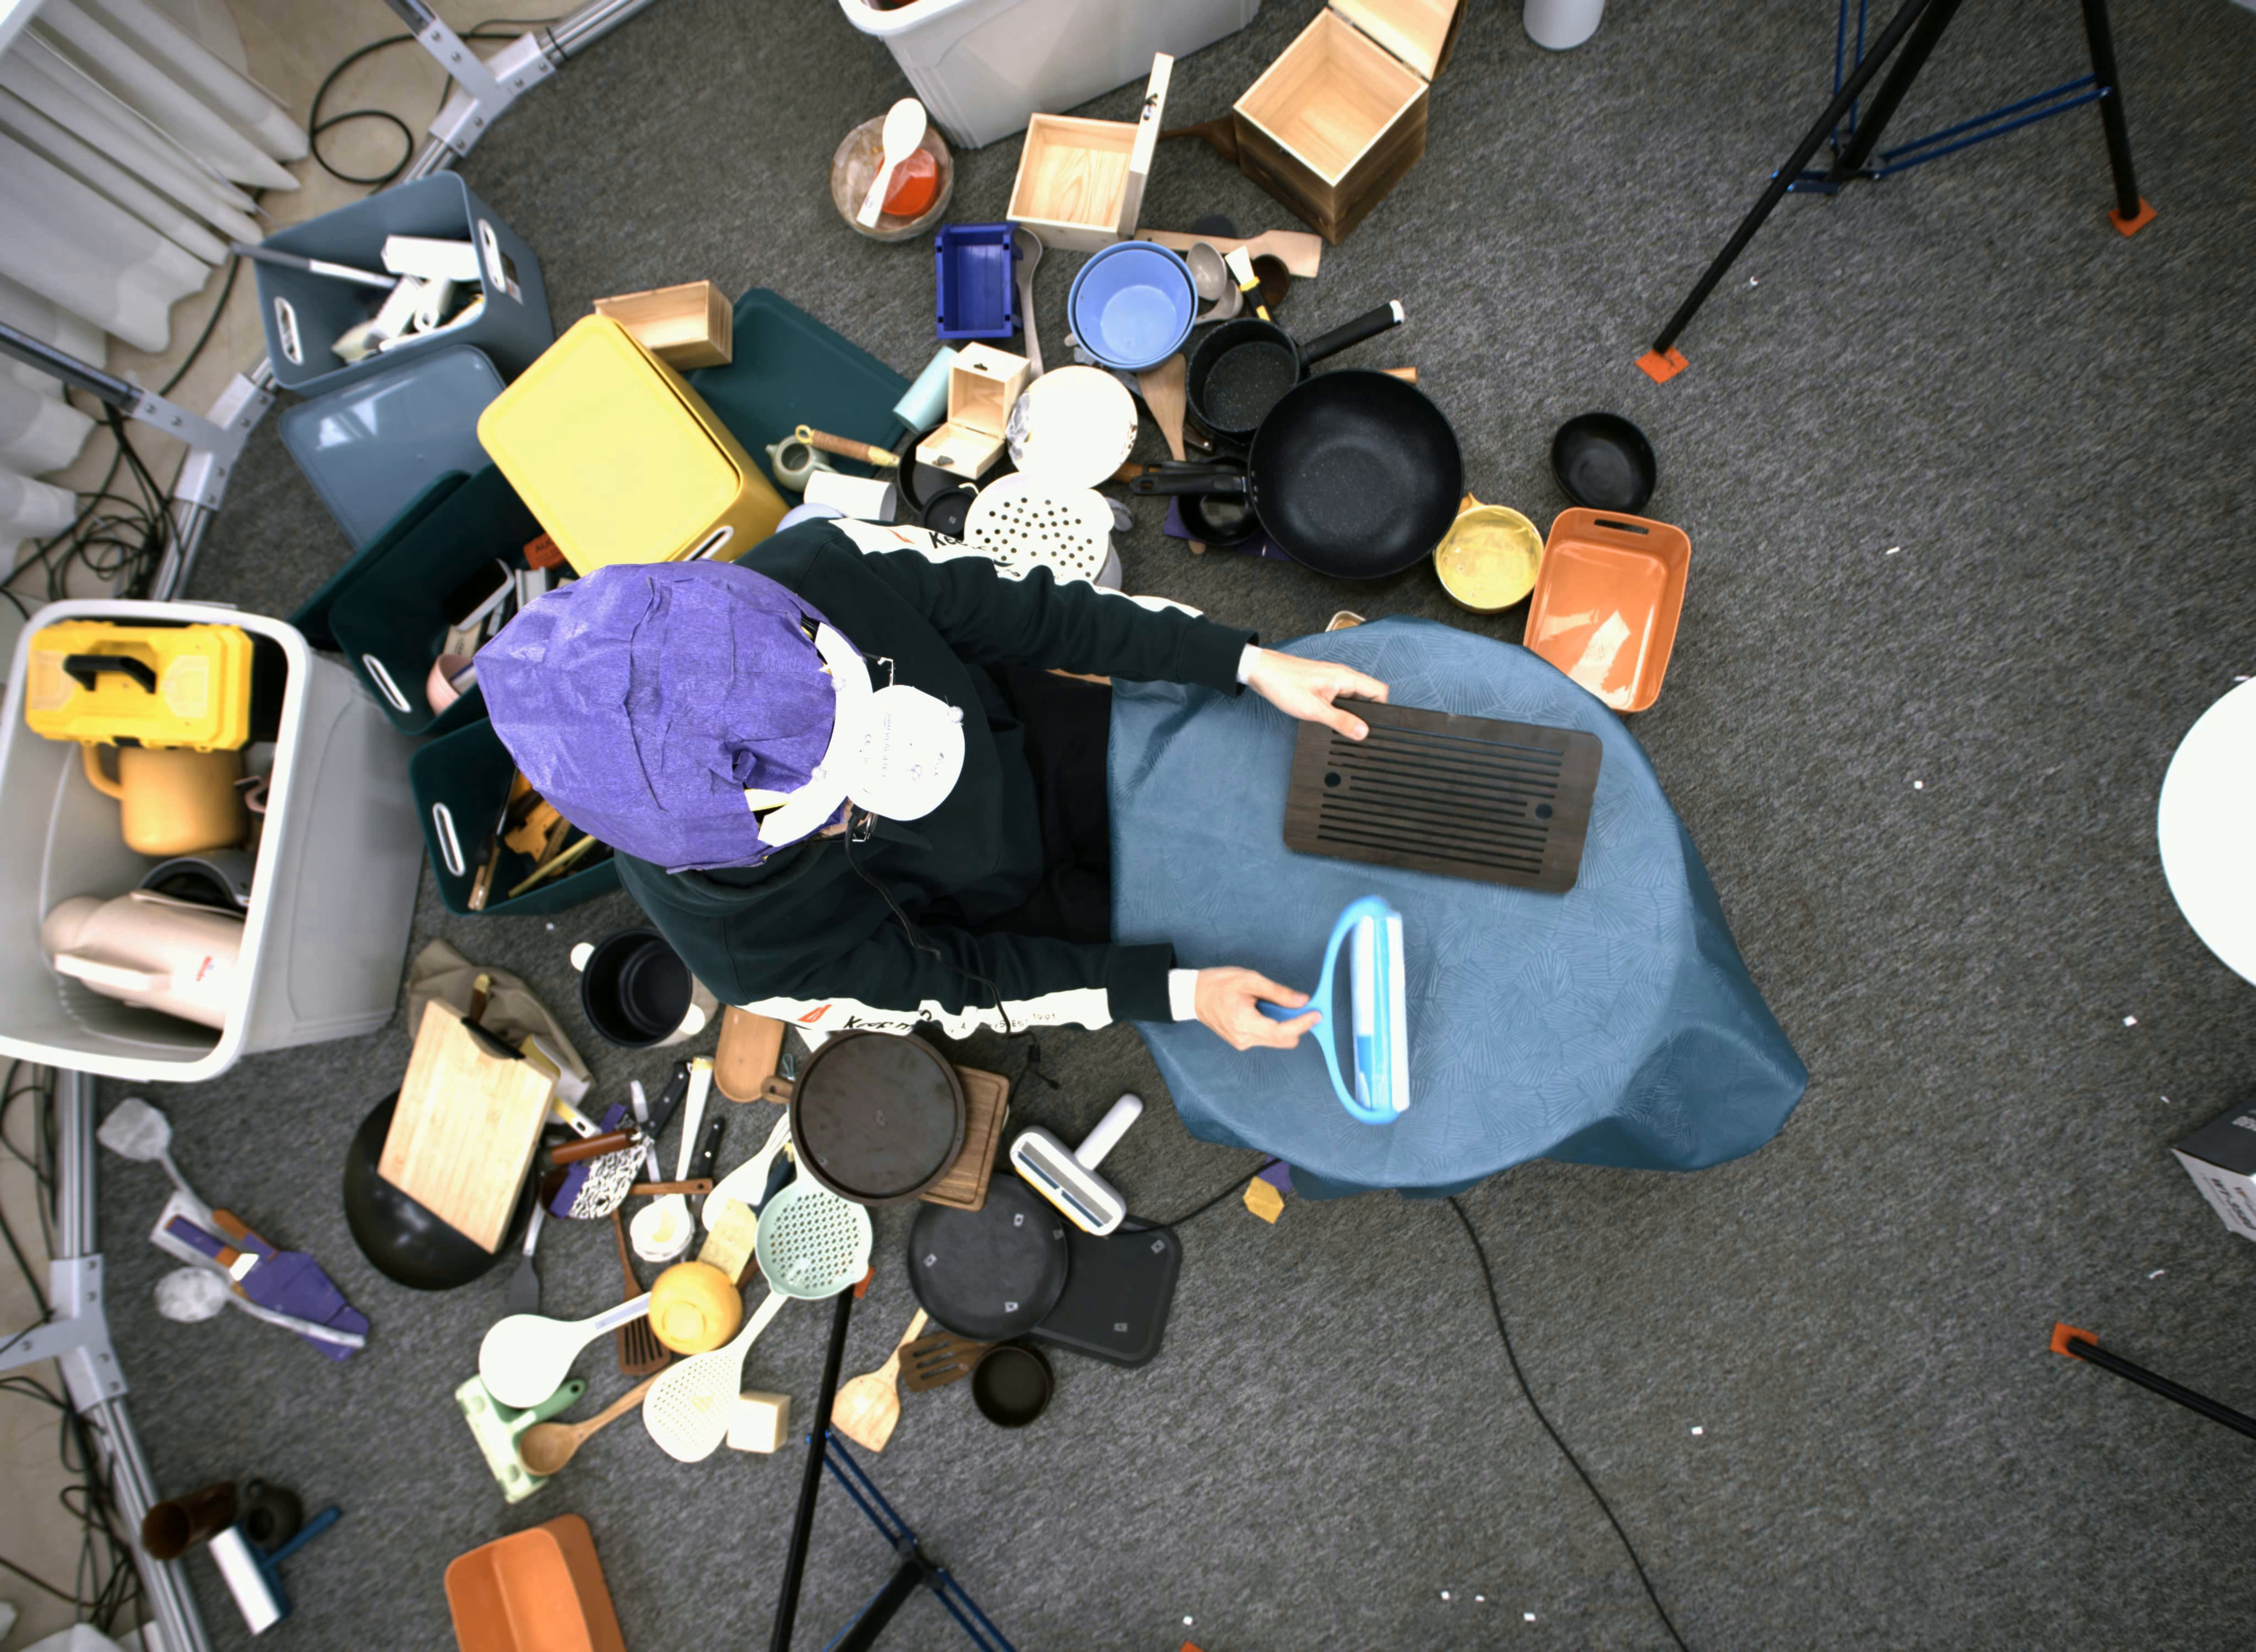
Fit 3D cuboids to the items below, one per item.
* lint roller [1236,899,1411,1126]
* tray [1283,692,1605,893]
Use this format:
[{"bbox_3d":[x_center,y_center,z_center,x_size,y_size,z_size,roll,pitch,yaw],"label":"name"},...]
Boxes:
[{"bbox_3d":[0.195,0.191,1.397,0.181,0.067,0.230,-4,96,12],"label":"lint roller"},{"bbox_3d":[0.319,-0.037,1.413,0.306,0.018,0.173,10,110,11],"label":"tray"}]
